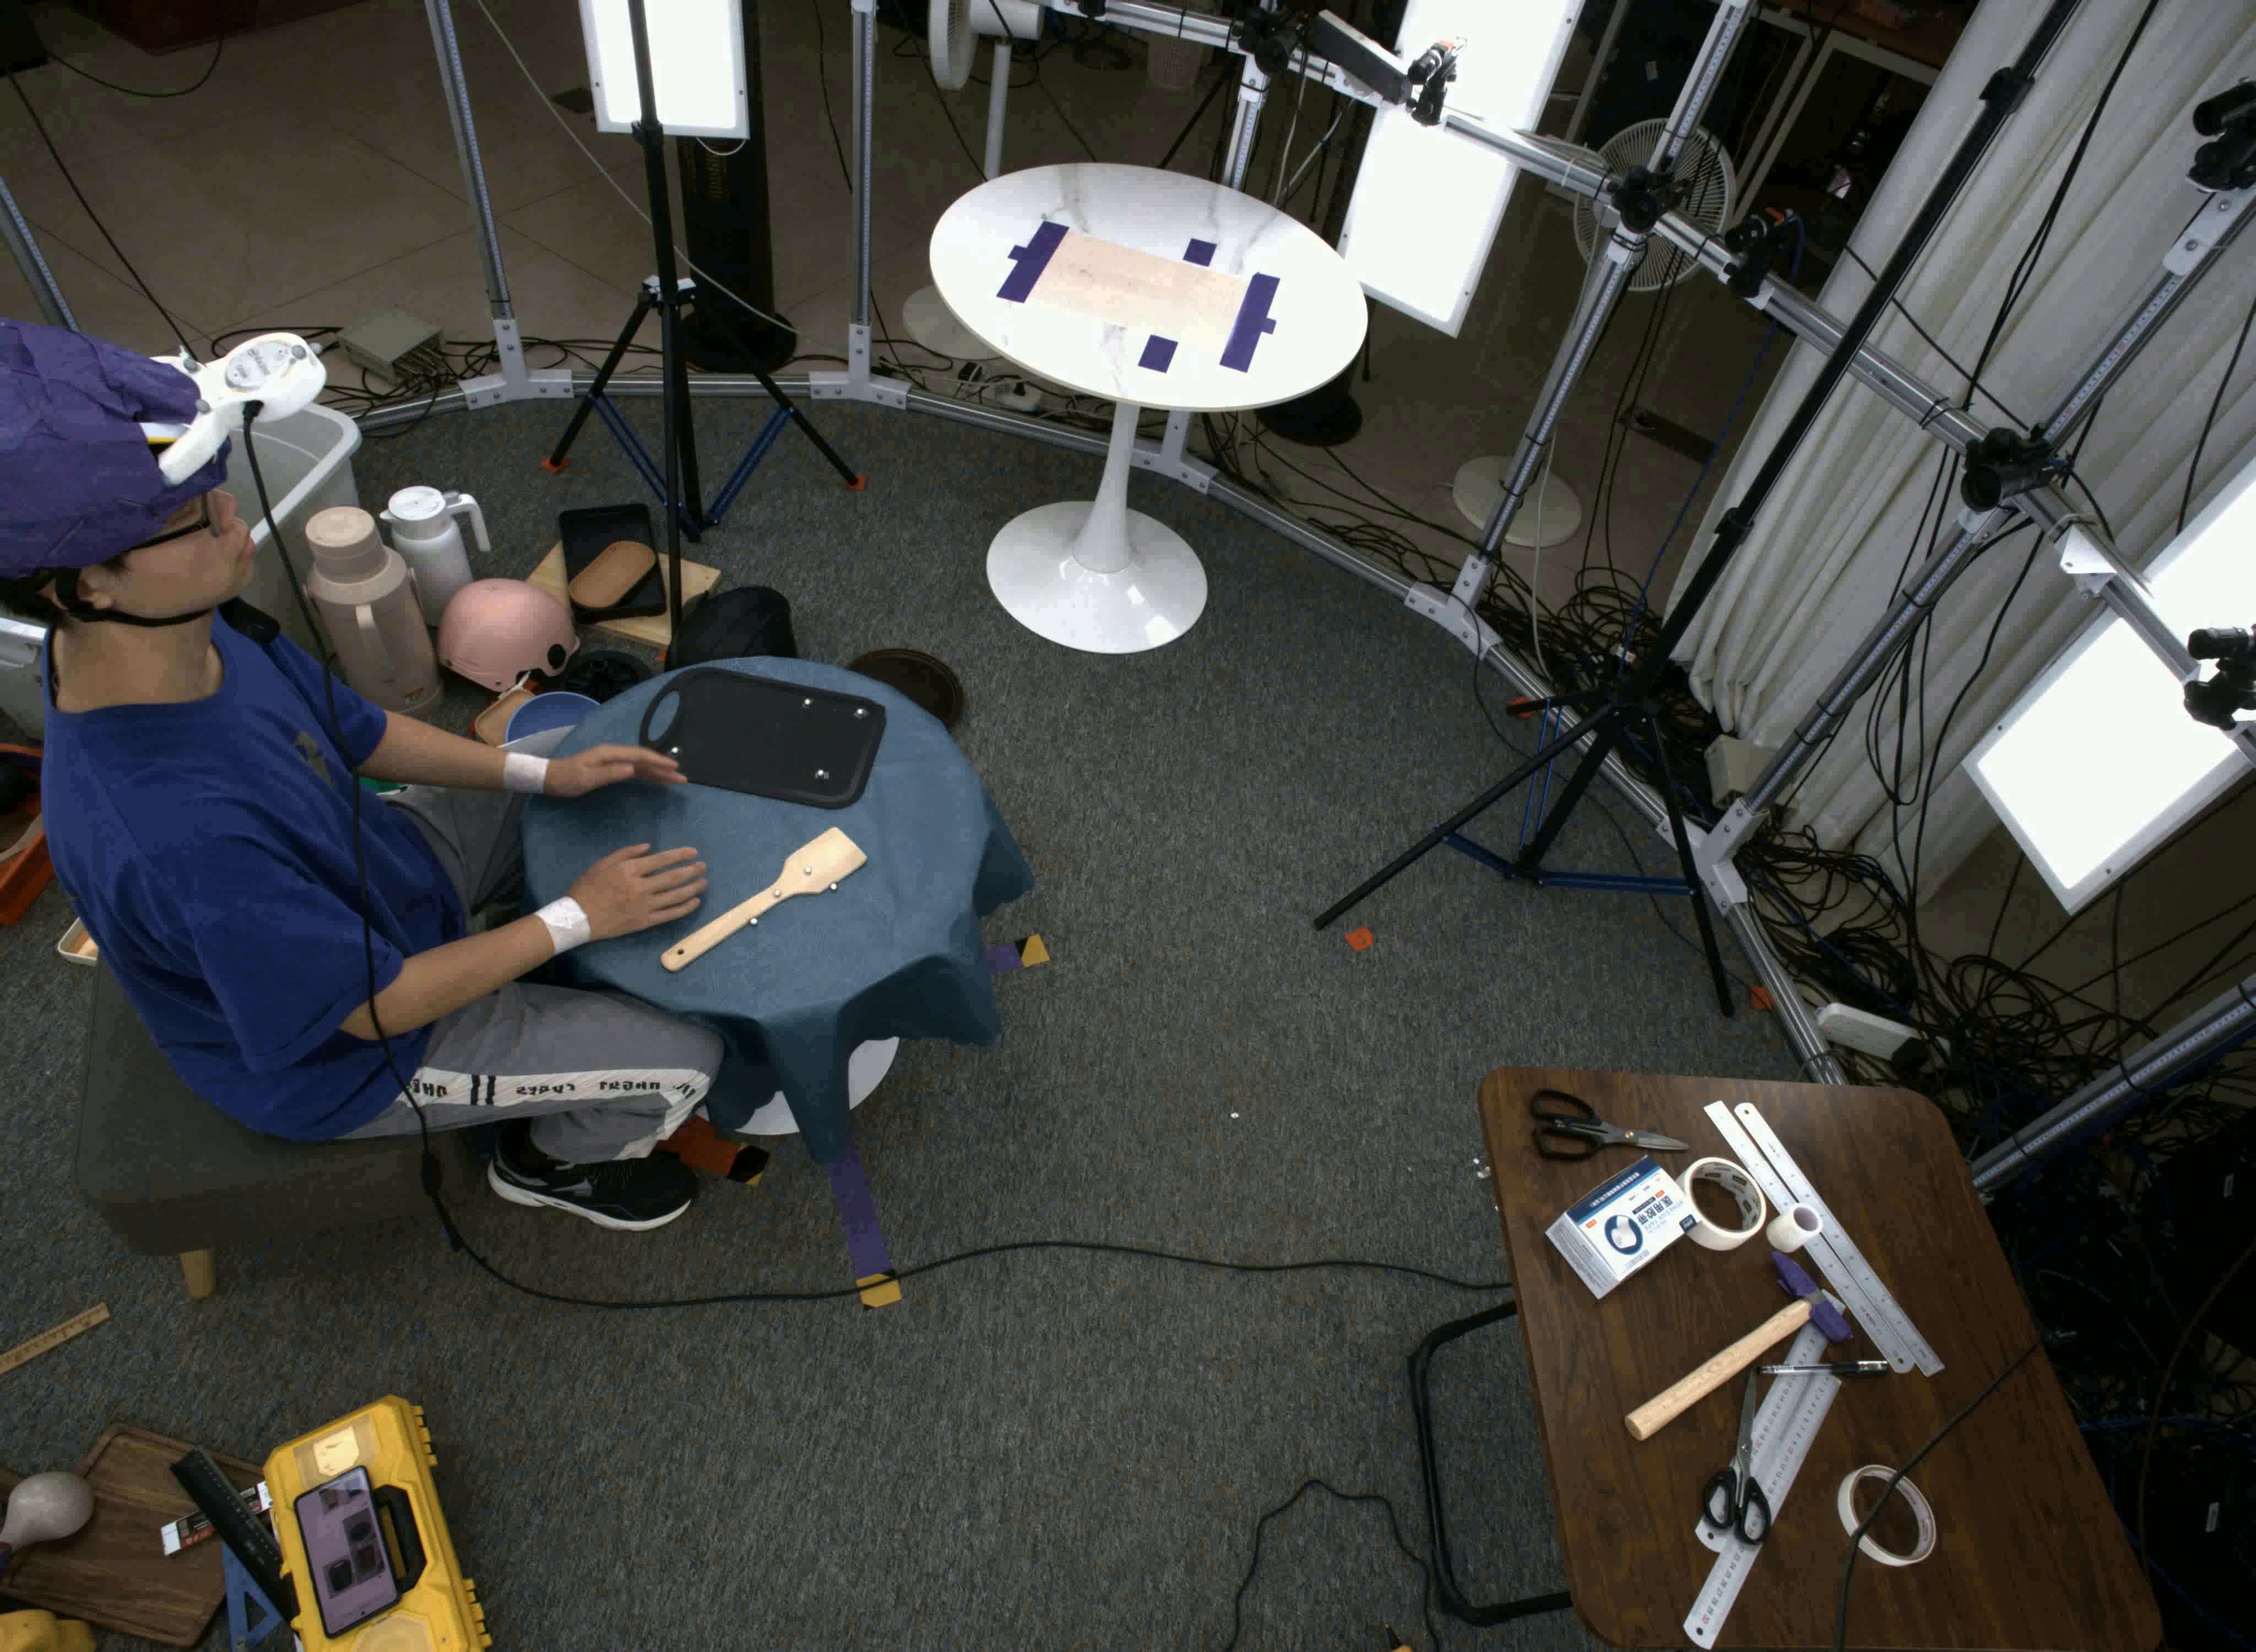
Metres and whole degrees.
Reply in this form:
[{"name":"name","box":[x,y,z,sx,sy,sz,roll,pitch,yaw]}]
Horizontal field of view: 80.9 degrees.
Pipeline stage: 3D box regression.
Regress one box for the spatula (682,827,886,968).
[{"name":"spatula","box":[-0.440,0.093,1.655,0.071,0.011,0.294,43,56,16]}]

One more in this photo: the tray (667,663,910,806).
[{"name":"tray","box":[-0.480,-0.134,1.815,0.323,0.010,0.208,13,52,-4]}]
